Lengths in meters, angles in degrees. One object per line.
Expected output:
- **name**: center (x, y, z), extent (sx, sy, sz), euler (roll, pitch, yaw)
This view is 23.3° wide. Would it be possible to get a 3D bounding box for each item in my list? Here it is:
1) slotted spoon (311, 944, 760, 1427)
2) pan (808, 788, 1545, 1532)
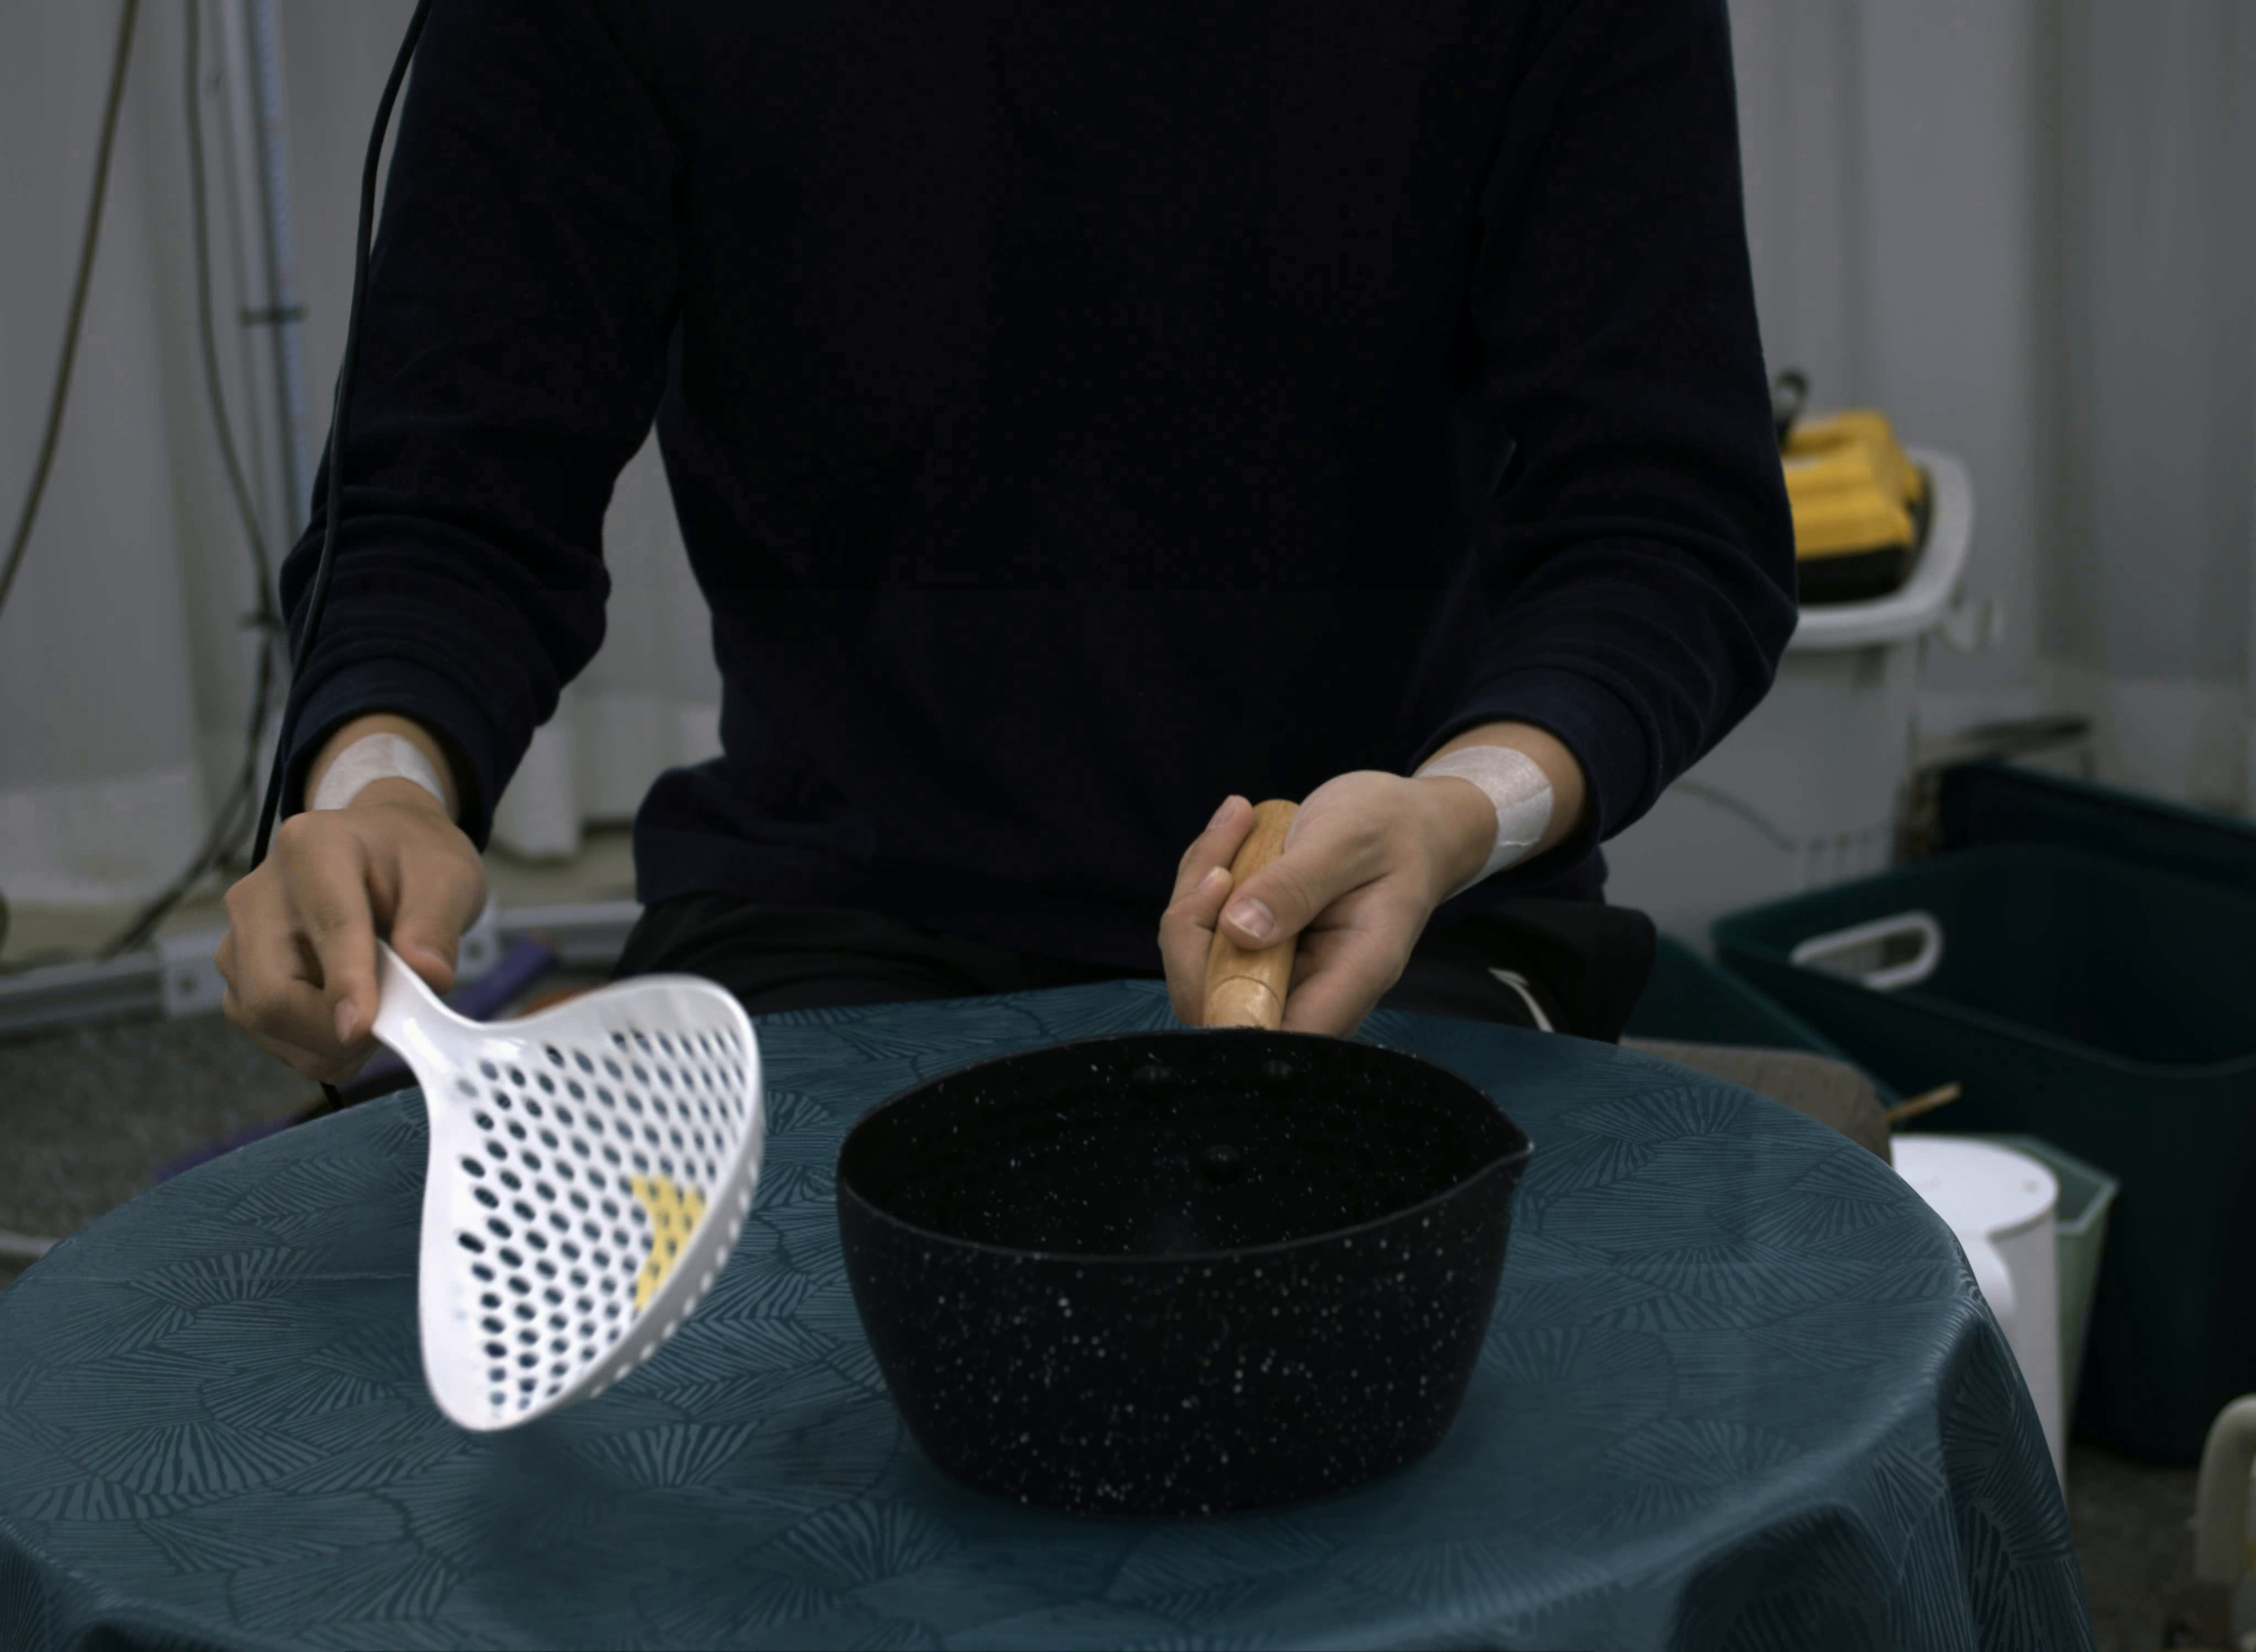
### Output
- **slotted spoon**: center (-0.182, 0.075, 1.549), extent (0.050, 0.137, 0.351), euler (30, -1, -32)
- **pan**: center (0.023, 0.091, 1.580), extent (0.207, 0.107, 0.345), euler (-2, 18, 9)
